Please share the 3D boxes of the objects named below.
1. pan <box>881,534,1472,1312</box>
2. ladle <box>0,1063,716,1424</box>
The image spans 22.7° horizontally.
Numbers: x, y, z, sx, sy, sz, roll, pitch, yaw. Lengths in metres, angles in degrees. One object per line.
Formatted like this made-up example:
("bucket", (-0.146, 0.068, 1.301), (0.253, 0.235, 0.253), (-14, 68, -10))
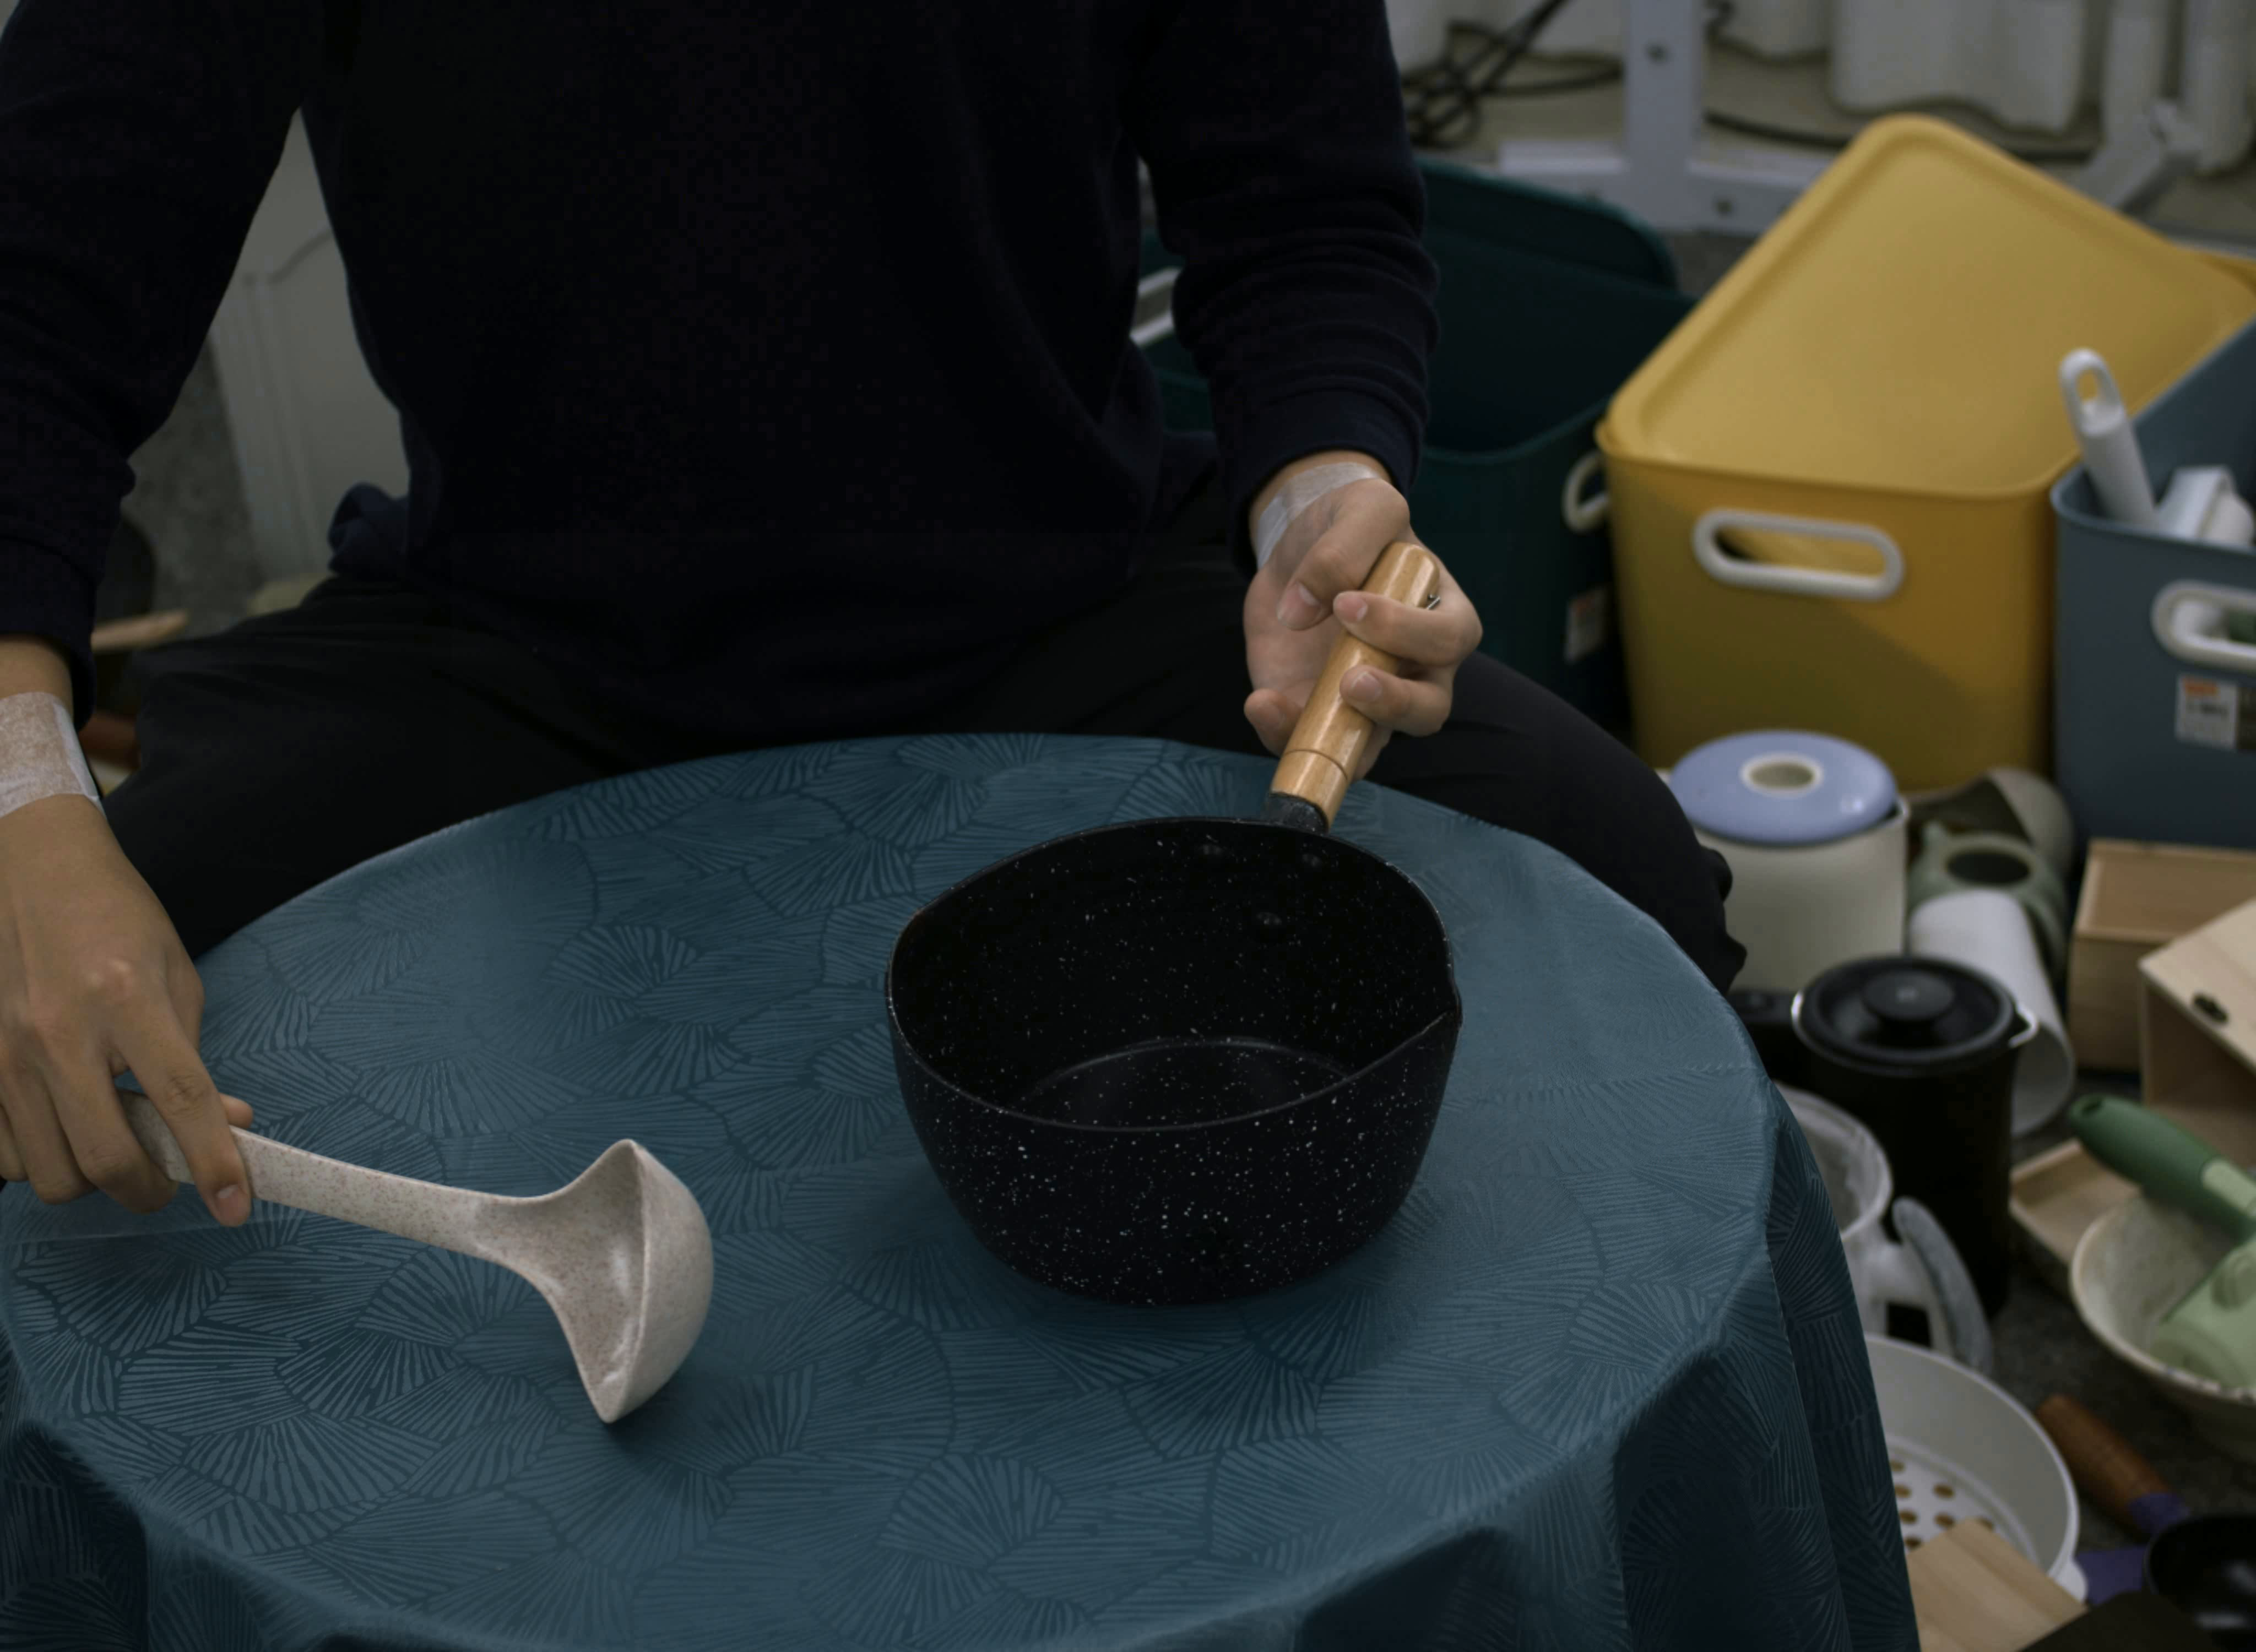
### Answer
("pan", (0.042, 0.029, 1.898), (0.206, 0.107, 0.349), (6, 34, 20))
("ladle", (-0.257, 0.120, 1.783), (0.273, 0.089, 0.070), (12, 16, 19))
